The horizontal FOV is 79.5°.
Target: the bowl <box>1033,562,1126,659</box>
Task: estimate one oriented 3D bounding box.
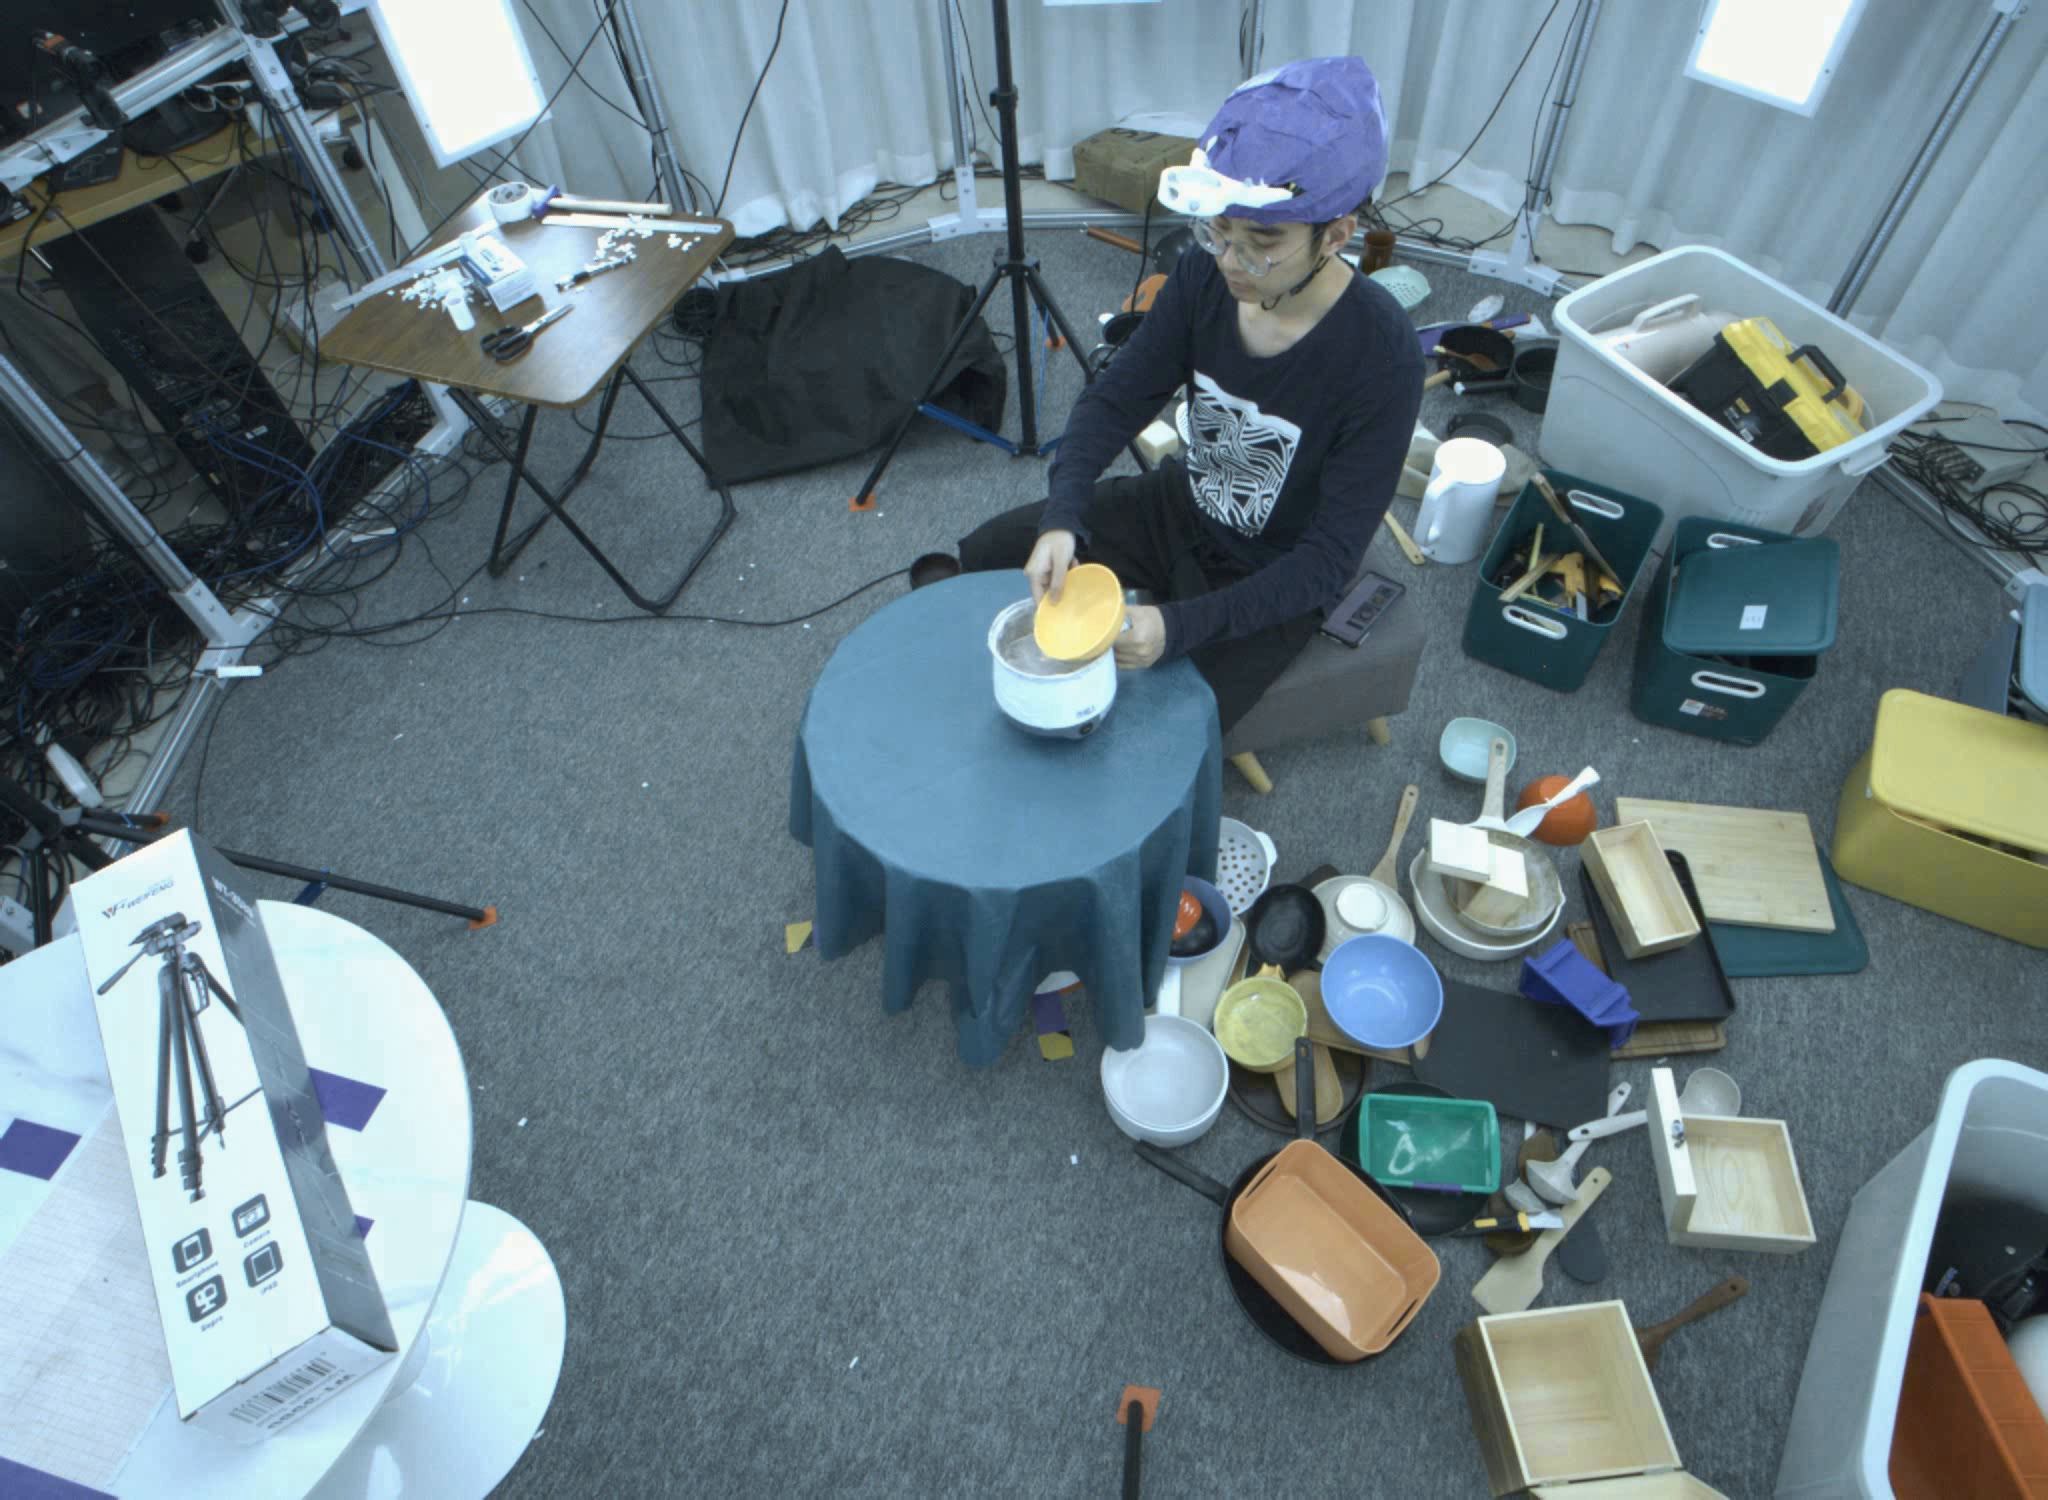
[{"bbox_3d":[0.087,-0.184,1.710,0.143,0.061,0.144,-14,63,31],"label":"bowl"}]

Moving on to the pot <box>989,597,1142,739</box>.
[{"bbox_3d":[0.066,-0.128,1.780,0.236,0.138,0.175,-24,51,-20],"label":"pot"}]
